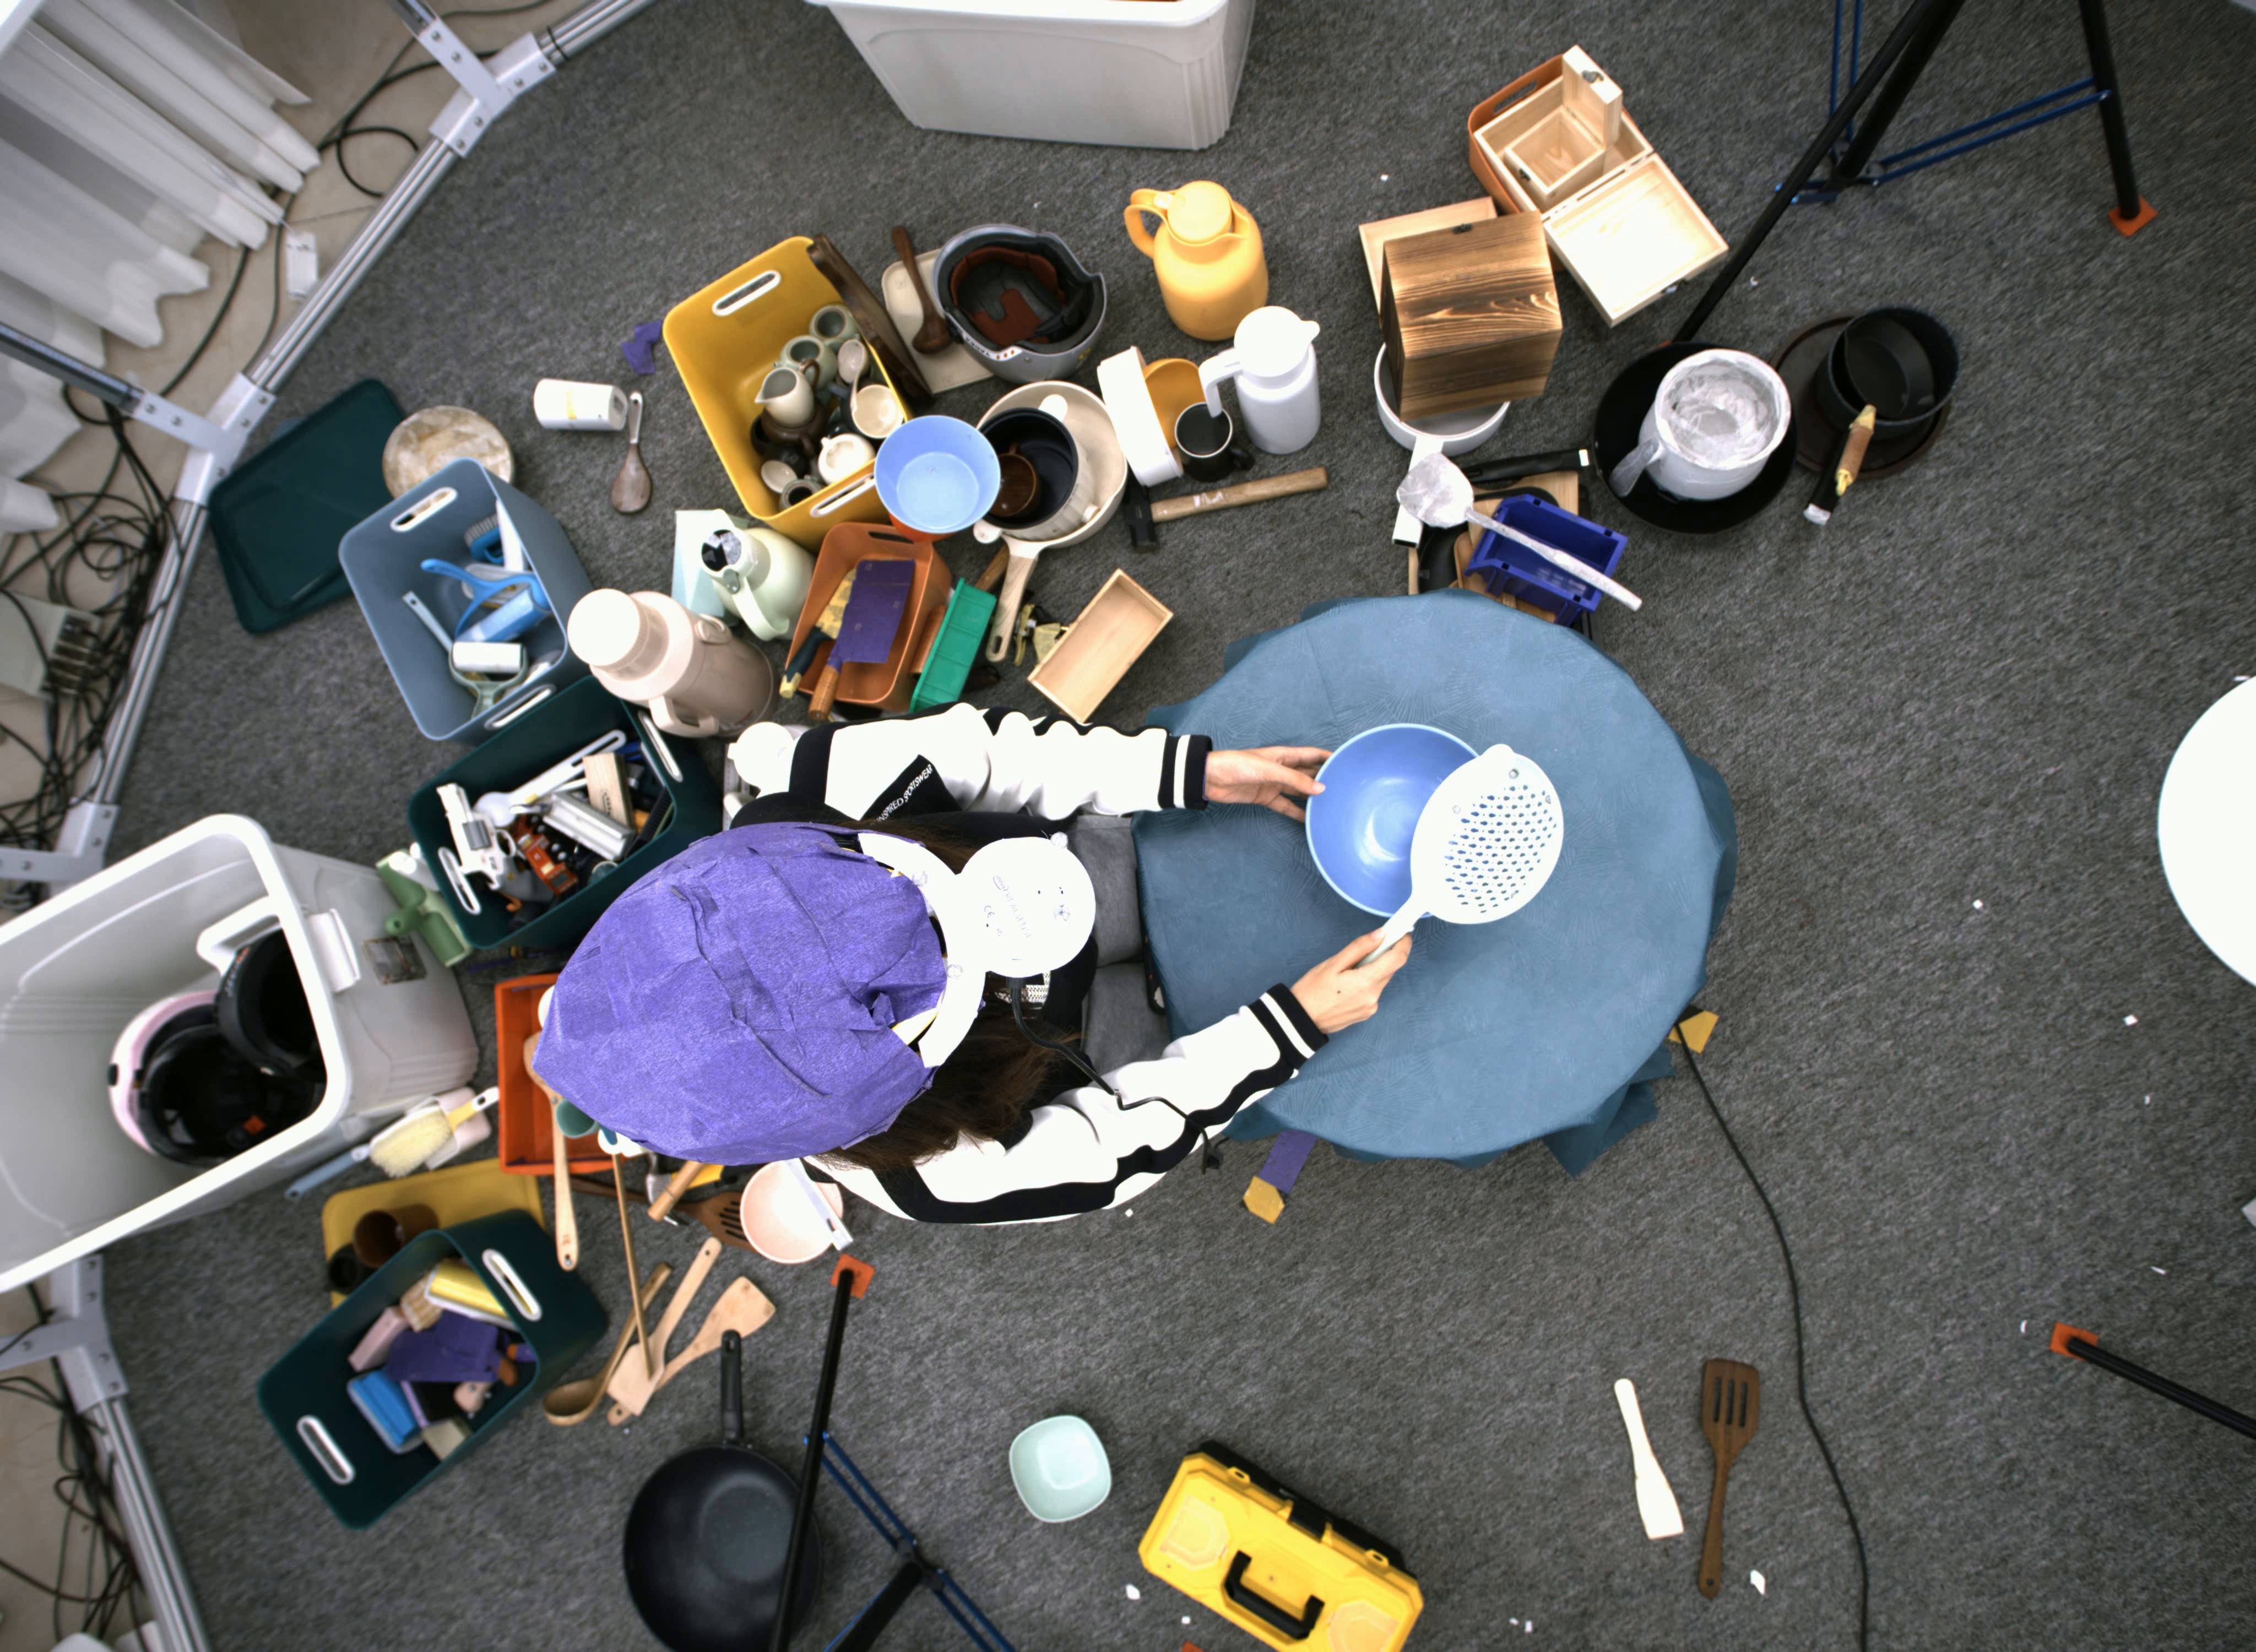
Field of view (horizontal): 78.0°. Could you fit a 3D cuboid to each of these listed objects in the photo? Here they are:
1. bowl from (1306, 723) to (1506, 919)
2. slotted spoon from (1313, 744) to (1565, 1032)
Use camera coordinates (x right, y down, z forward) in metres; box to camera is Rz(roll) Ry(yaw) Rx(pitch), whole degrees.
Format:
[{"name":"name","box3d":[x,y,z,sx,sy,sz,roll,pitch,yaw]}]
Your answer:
[{"name":"bowl","box3d":[0.283,-0.002,1.414,0.197,0.095,0.195,-1,87,10]},{"name":"slotted spoon","box3d":[0.288,0.081,1.349,0.365,0.076,0.165,-45,39,24]}]
